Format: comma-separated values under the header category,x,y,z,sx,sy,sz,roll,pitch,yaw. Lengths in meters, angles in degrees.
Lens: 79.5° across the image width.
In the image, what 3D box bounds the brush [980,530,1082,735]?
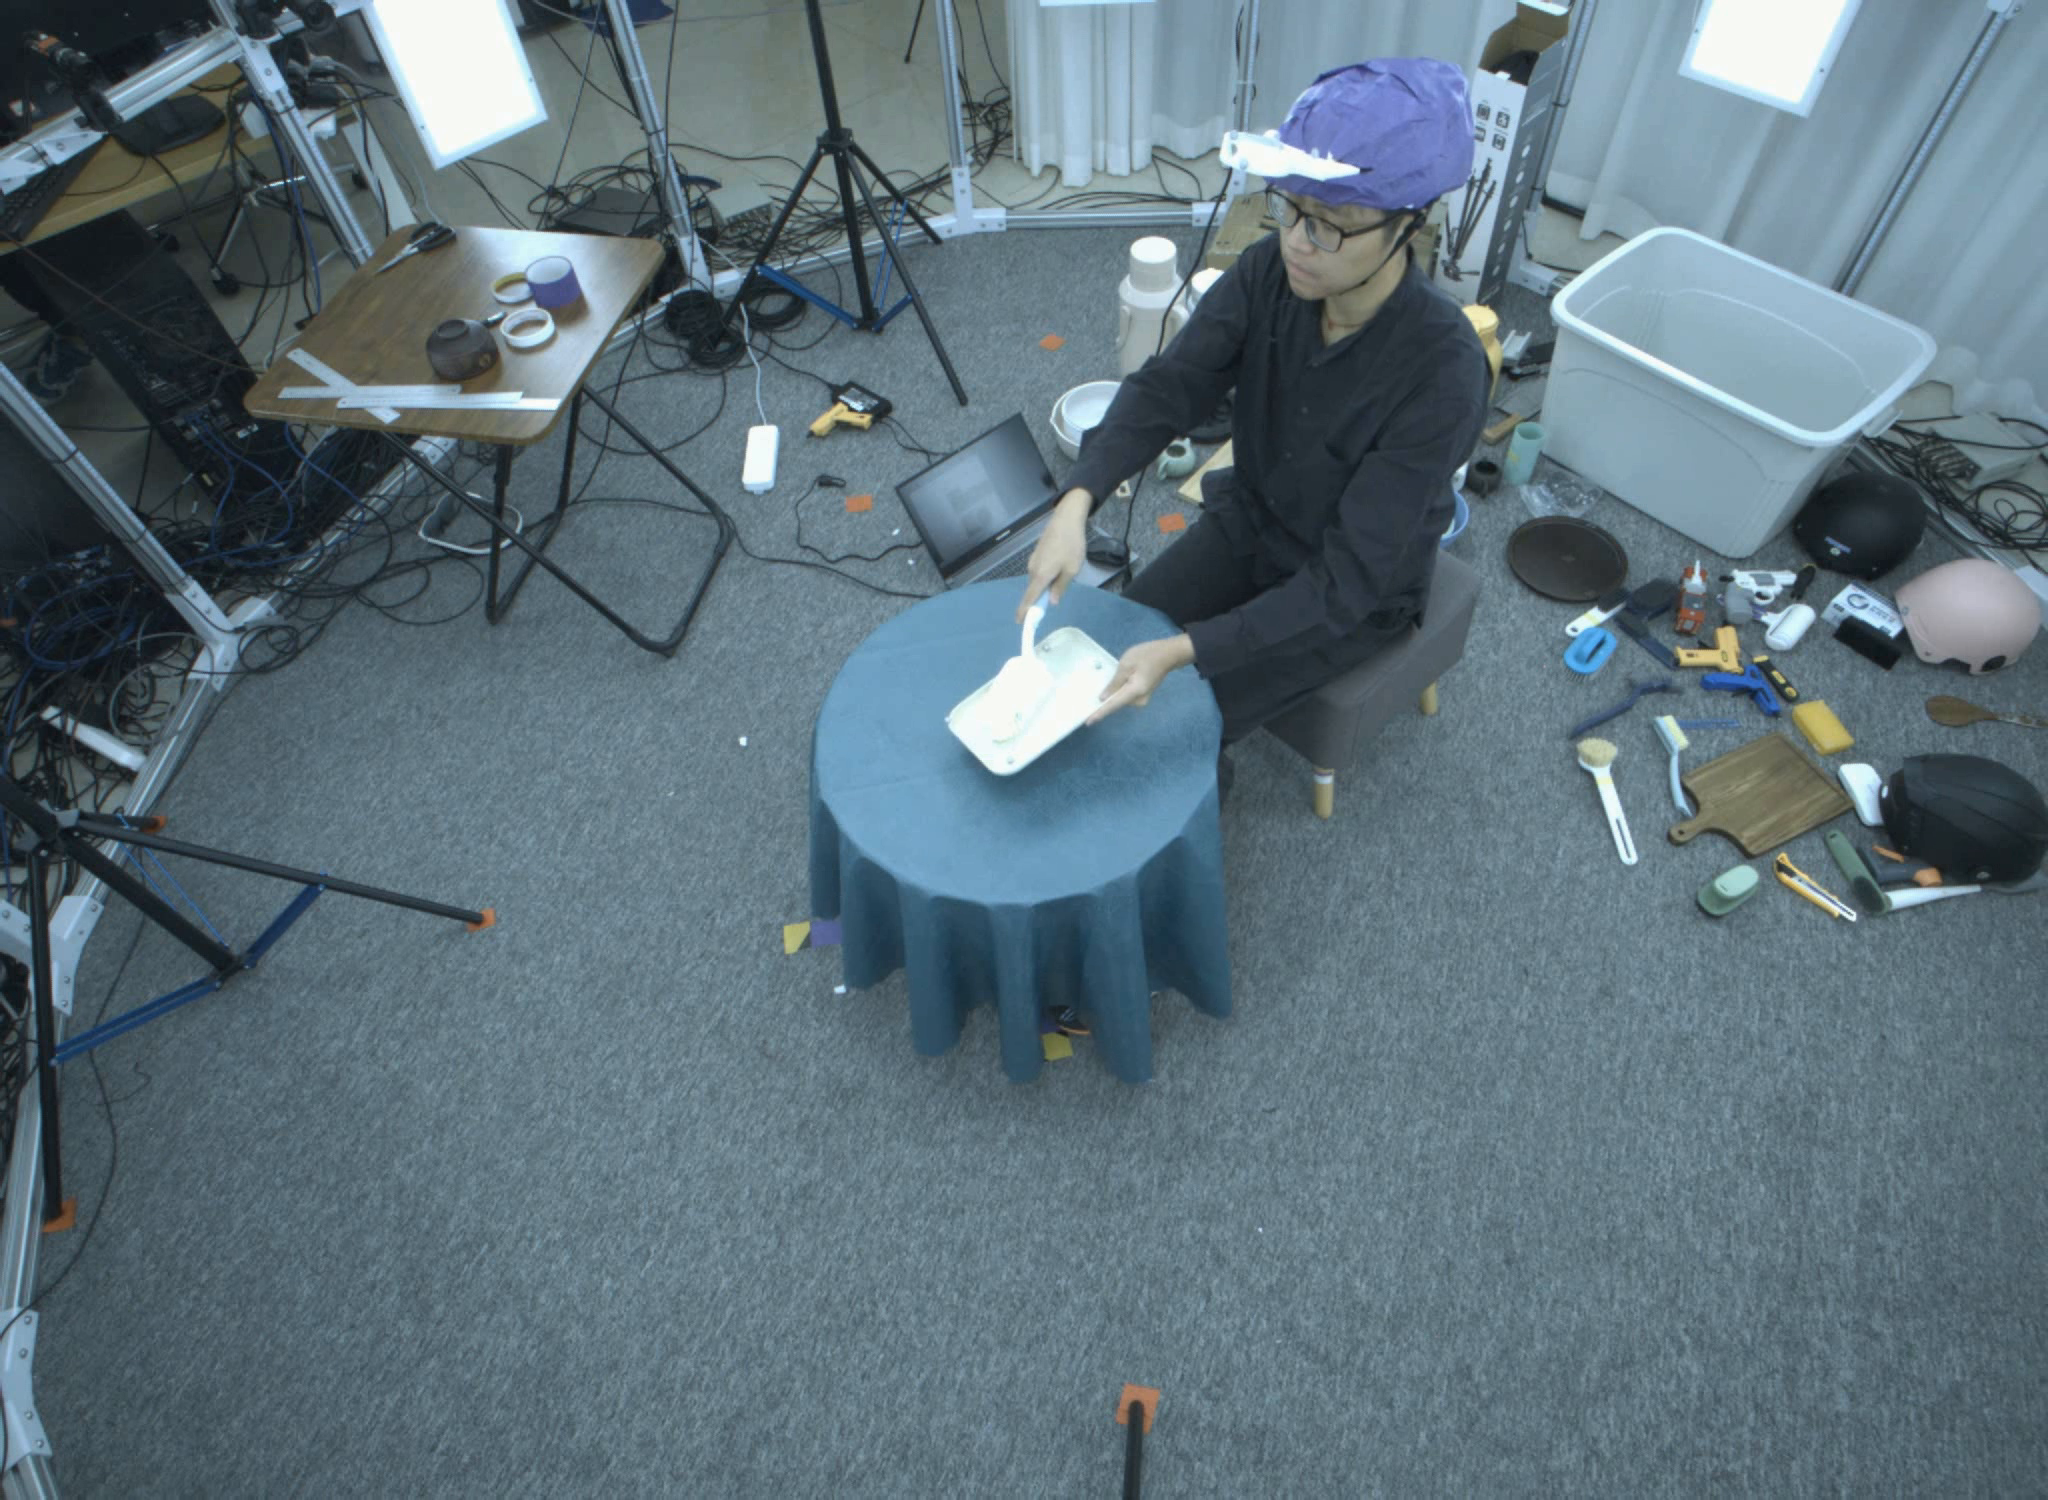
category,x,y,z,sx,sy,sz,roll,pitch,yaw
brush,0.028,-0.162,1.751,0.083,0.084,0.325,26,75,-6

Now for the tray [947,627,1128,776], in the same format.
category,x,y,z,sx,sy,sz,roll,pitch,yaw
tray,0.019,-0.069,1.730,0.240,0.018,0.167,-37,49,-10
